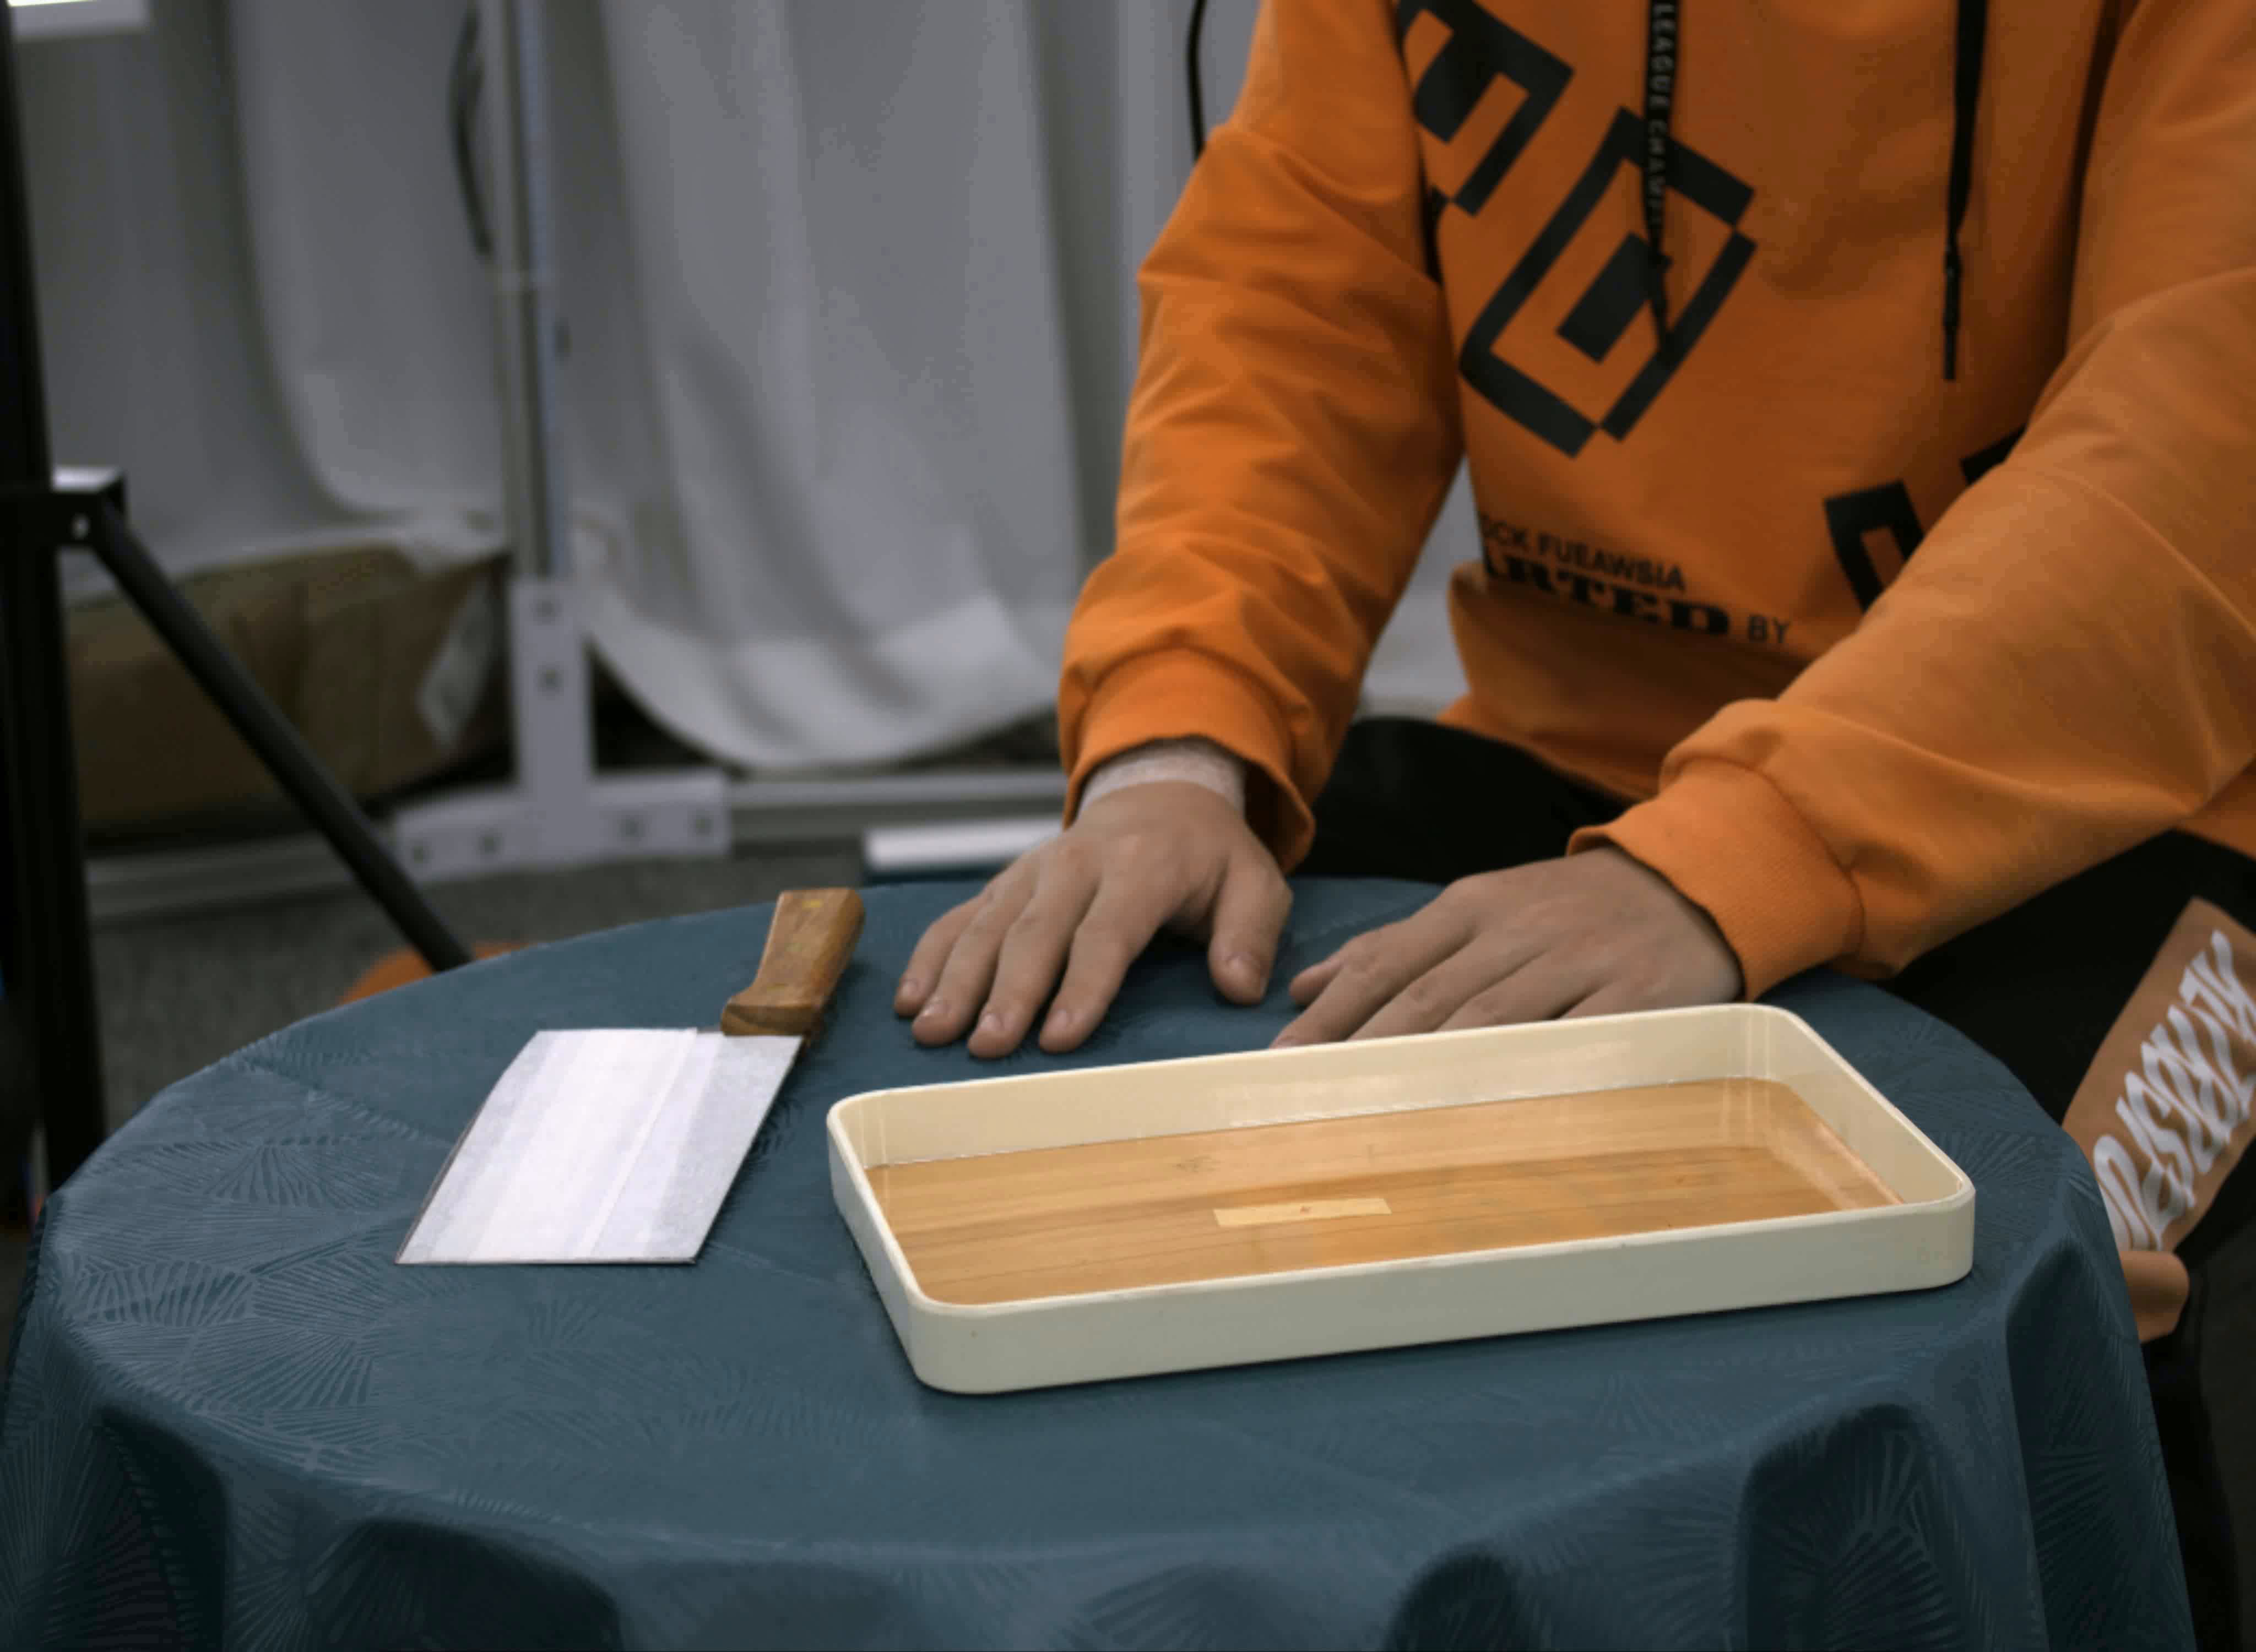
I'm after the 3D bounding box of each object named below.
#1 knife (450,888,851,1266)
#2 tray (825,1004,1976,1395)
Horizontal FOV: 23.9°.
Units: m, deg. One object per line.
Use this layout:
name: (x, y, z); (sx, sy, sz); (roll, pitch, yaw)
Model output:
knife: (-0.148, 0.077, 1.665); (0.093, 0.021, 0.305); (-2, 18, 8)
tray: (0.073, 0.104, 1.510); (0.297, 0.027, 0.194); (-5, 16, -8)
